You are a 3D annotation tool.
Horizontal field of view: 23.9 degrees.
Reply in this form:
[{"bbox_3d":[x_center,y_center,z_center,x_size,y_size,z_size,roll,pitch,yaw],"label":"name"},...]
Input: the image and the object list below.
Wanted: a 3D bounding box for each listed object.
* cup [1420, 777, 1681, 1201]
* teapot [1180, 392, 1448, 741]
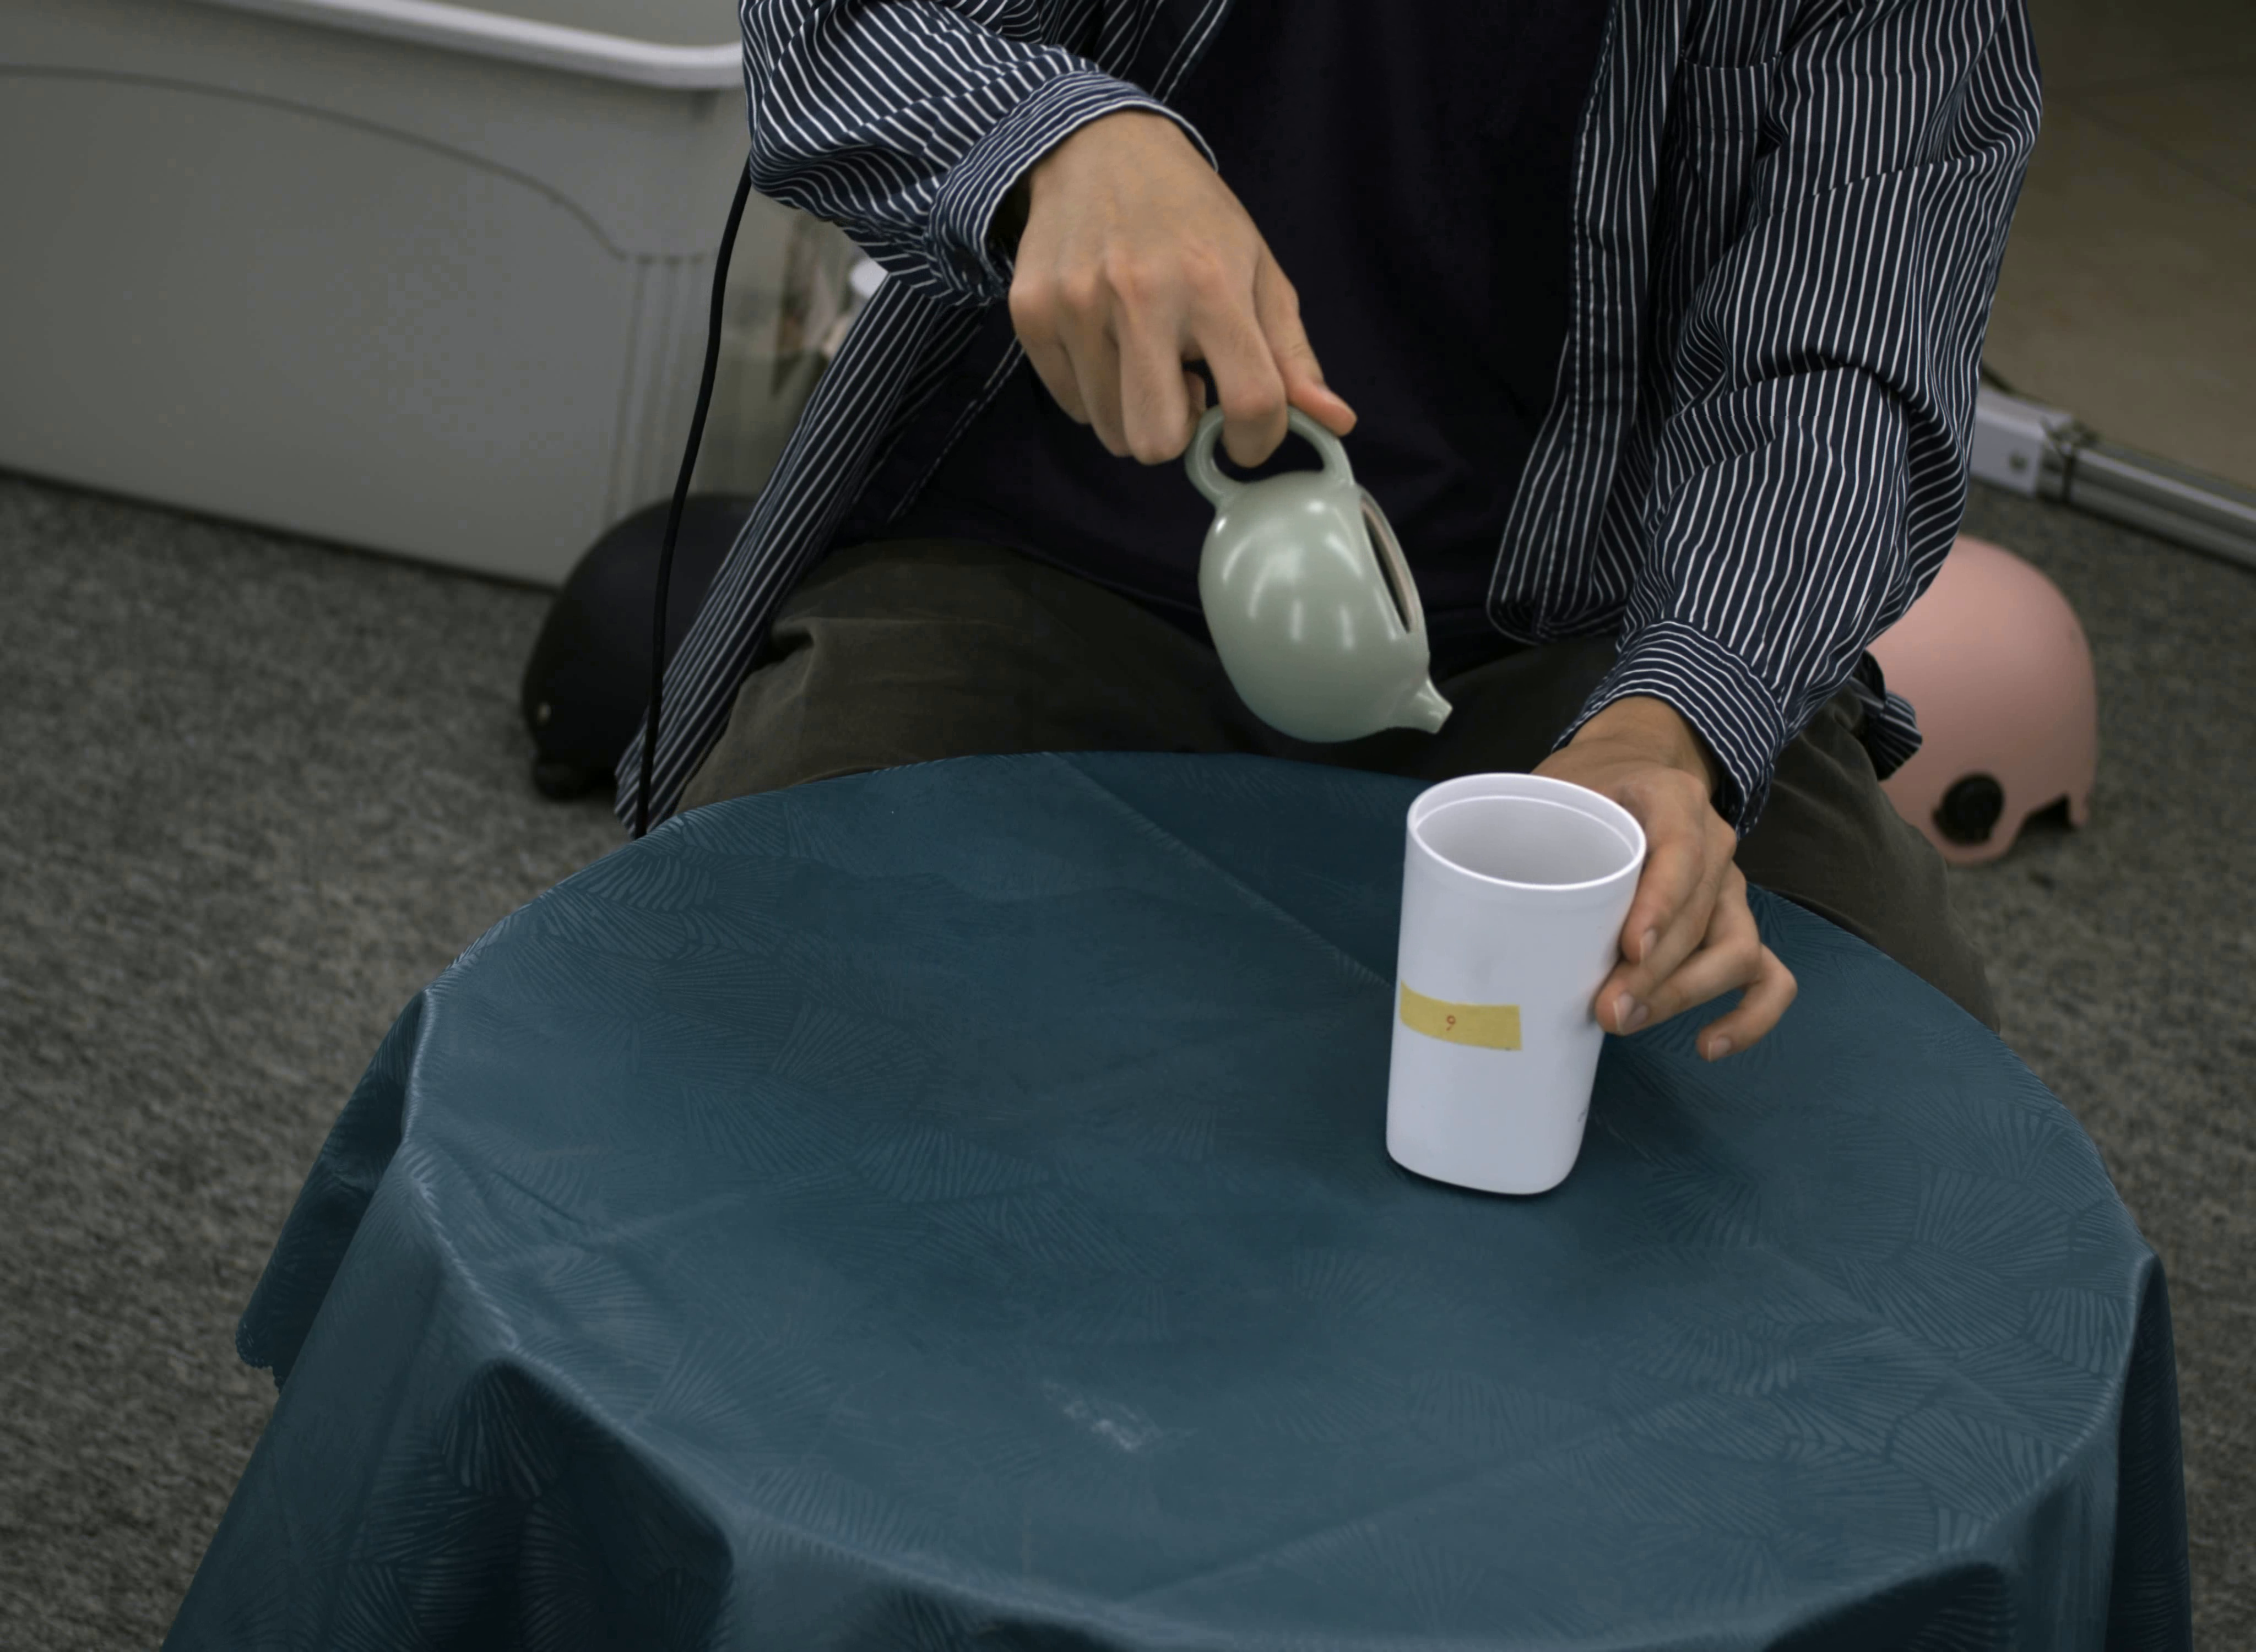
[{"bbox_3d":[0.140,0.057,1.811,0.081,0.125,0.082,4,27,-2],"label":"cup"},{"bbox_3d":[0.055,-0.082,1.752,0.061,0.128,0.091,-22,3,15],"label":"teapot"}]
